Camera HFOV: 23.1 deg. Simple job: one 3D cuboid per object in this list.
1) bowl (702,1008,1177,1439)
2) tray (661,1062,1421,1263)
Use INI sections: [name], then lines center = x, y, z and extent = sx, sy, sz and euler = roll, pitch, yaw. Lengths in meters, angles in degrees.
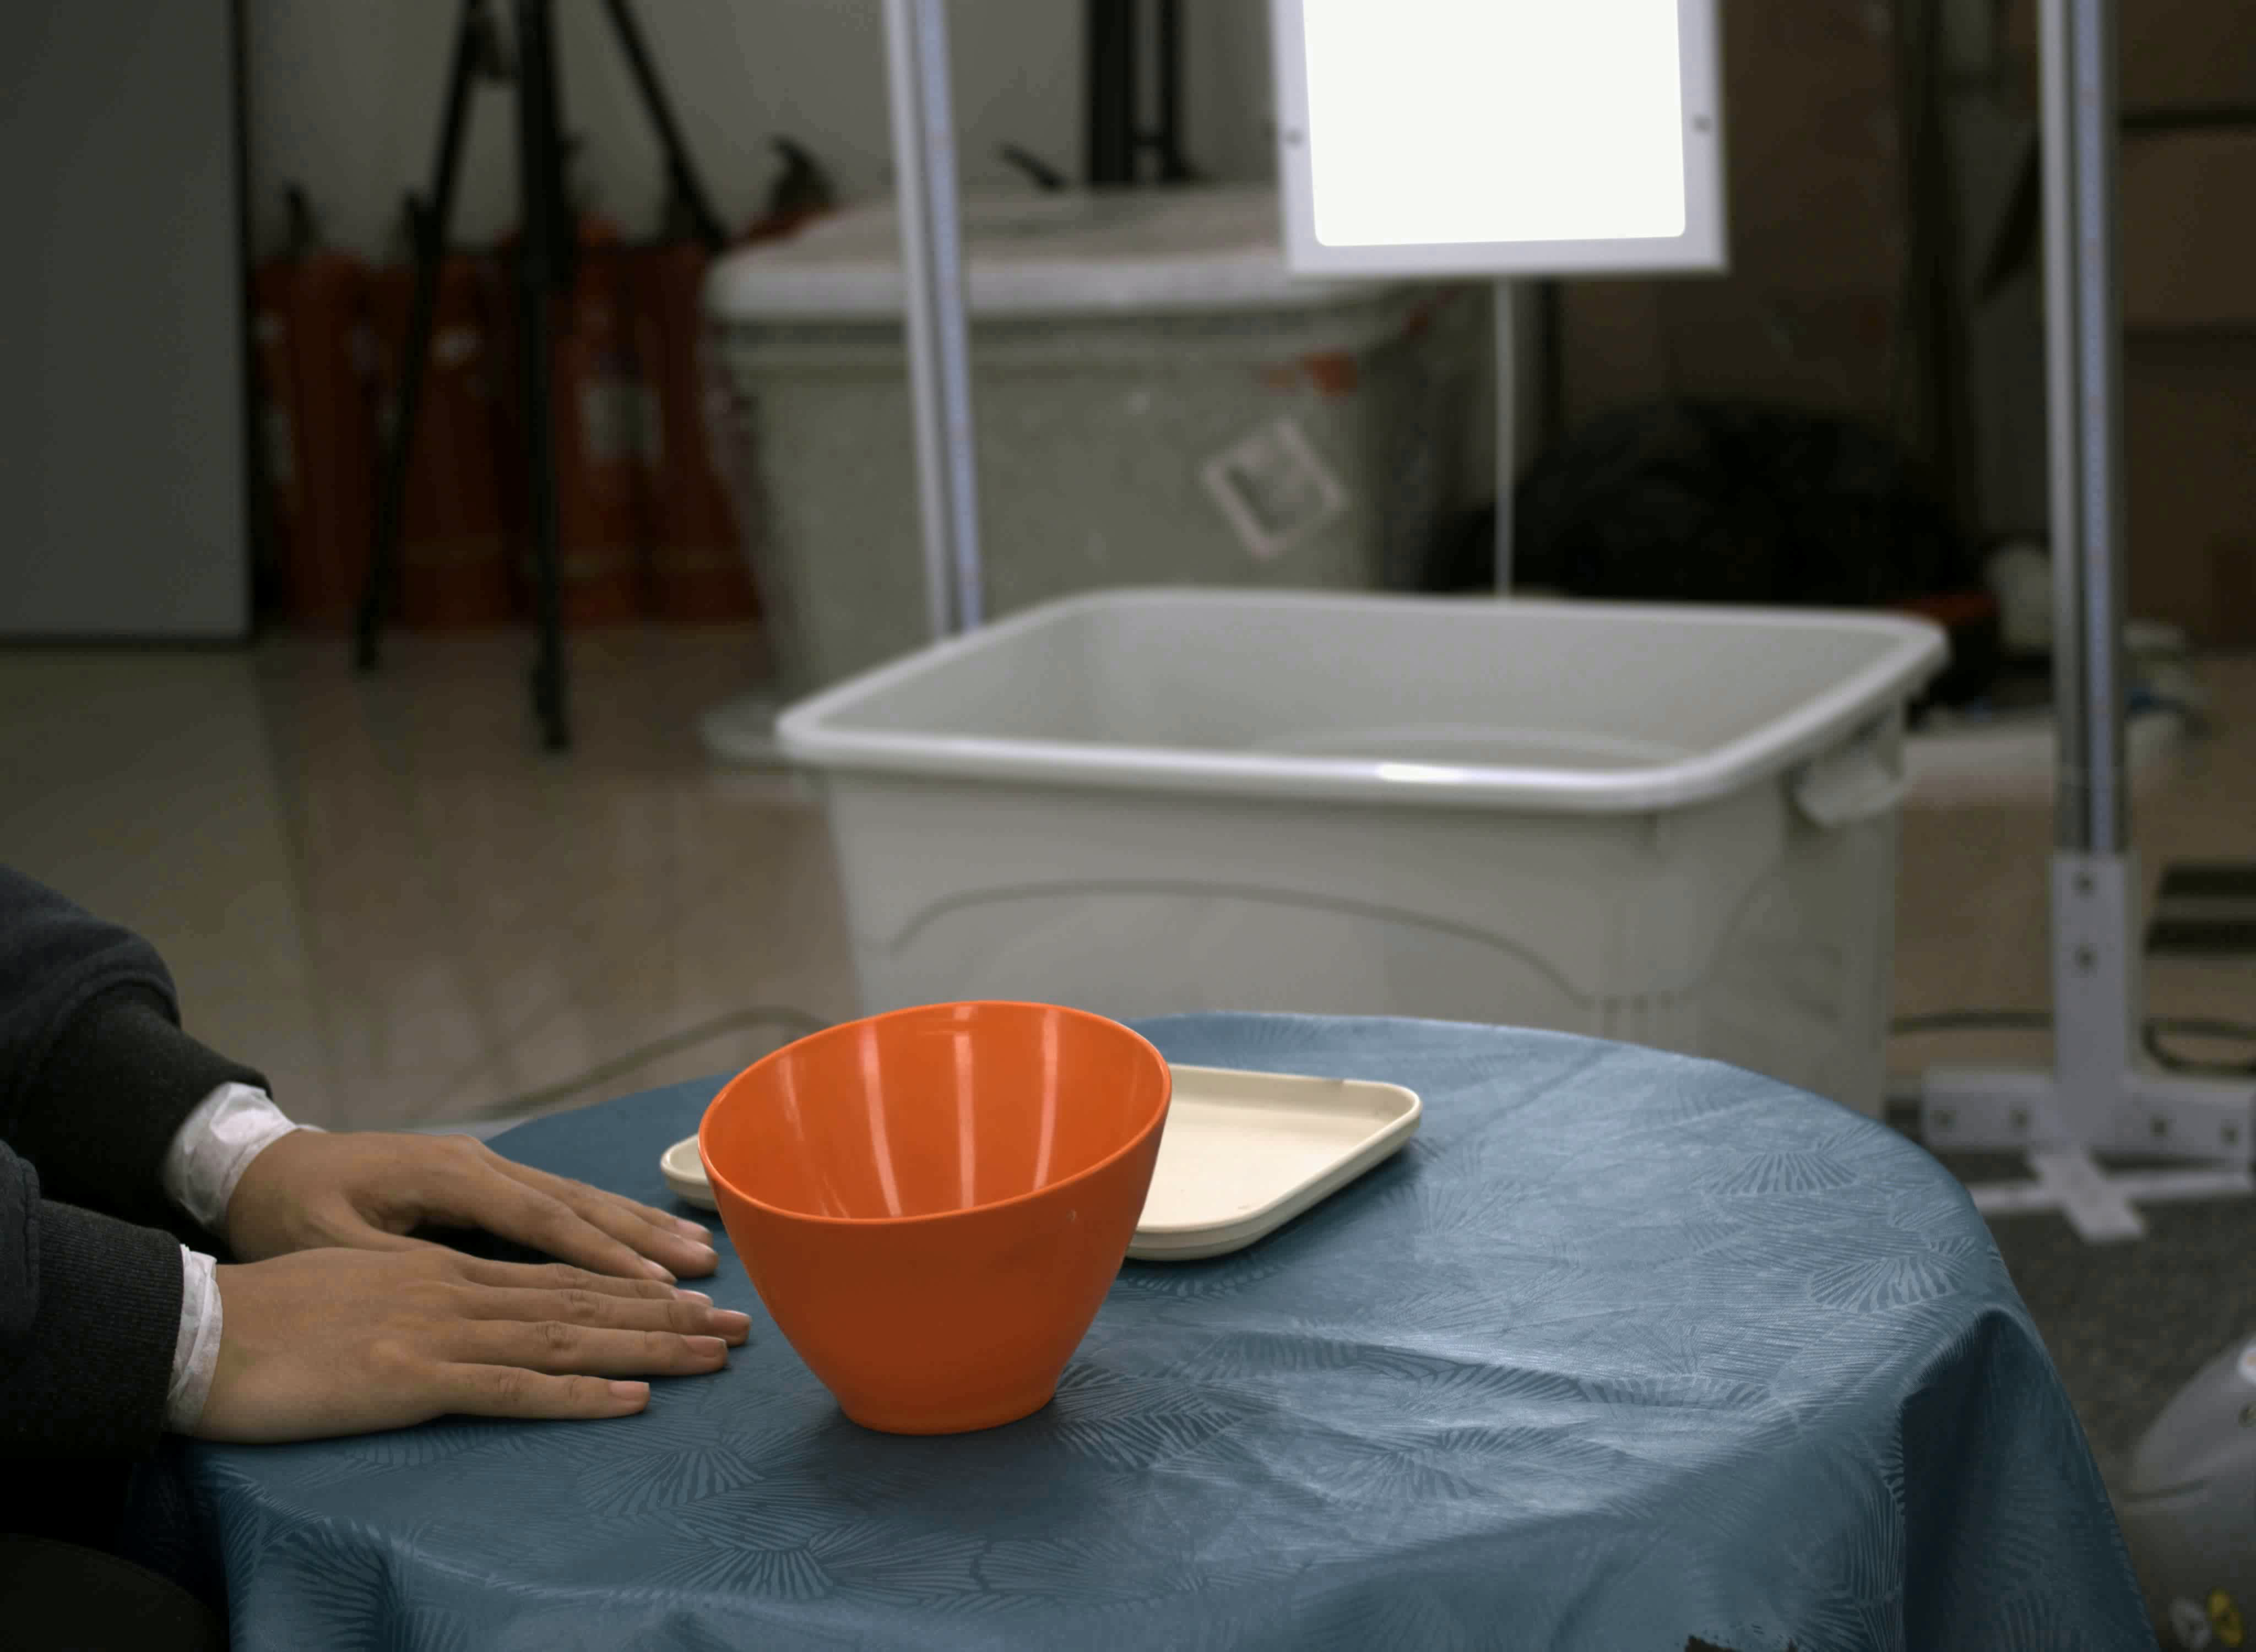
[bowl]
center = -0.056, 0.126, 1.706
extent = 0.147, 0.105, 0.148
euler = -3, 13, -1
[tray]
center = -0.030, 0.114, 1.924
extent = 0.244, 0.017, 0.167
euler = 4, 17, 32
